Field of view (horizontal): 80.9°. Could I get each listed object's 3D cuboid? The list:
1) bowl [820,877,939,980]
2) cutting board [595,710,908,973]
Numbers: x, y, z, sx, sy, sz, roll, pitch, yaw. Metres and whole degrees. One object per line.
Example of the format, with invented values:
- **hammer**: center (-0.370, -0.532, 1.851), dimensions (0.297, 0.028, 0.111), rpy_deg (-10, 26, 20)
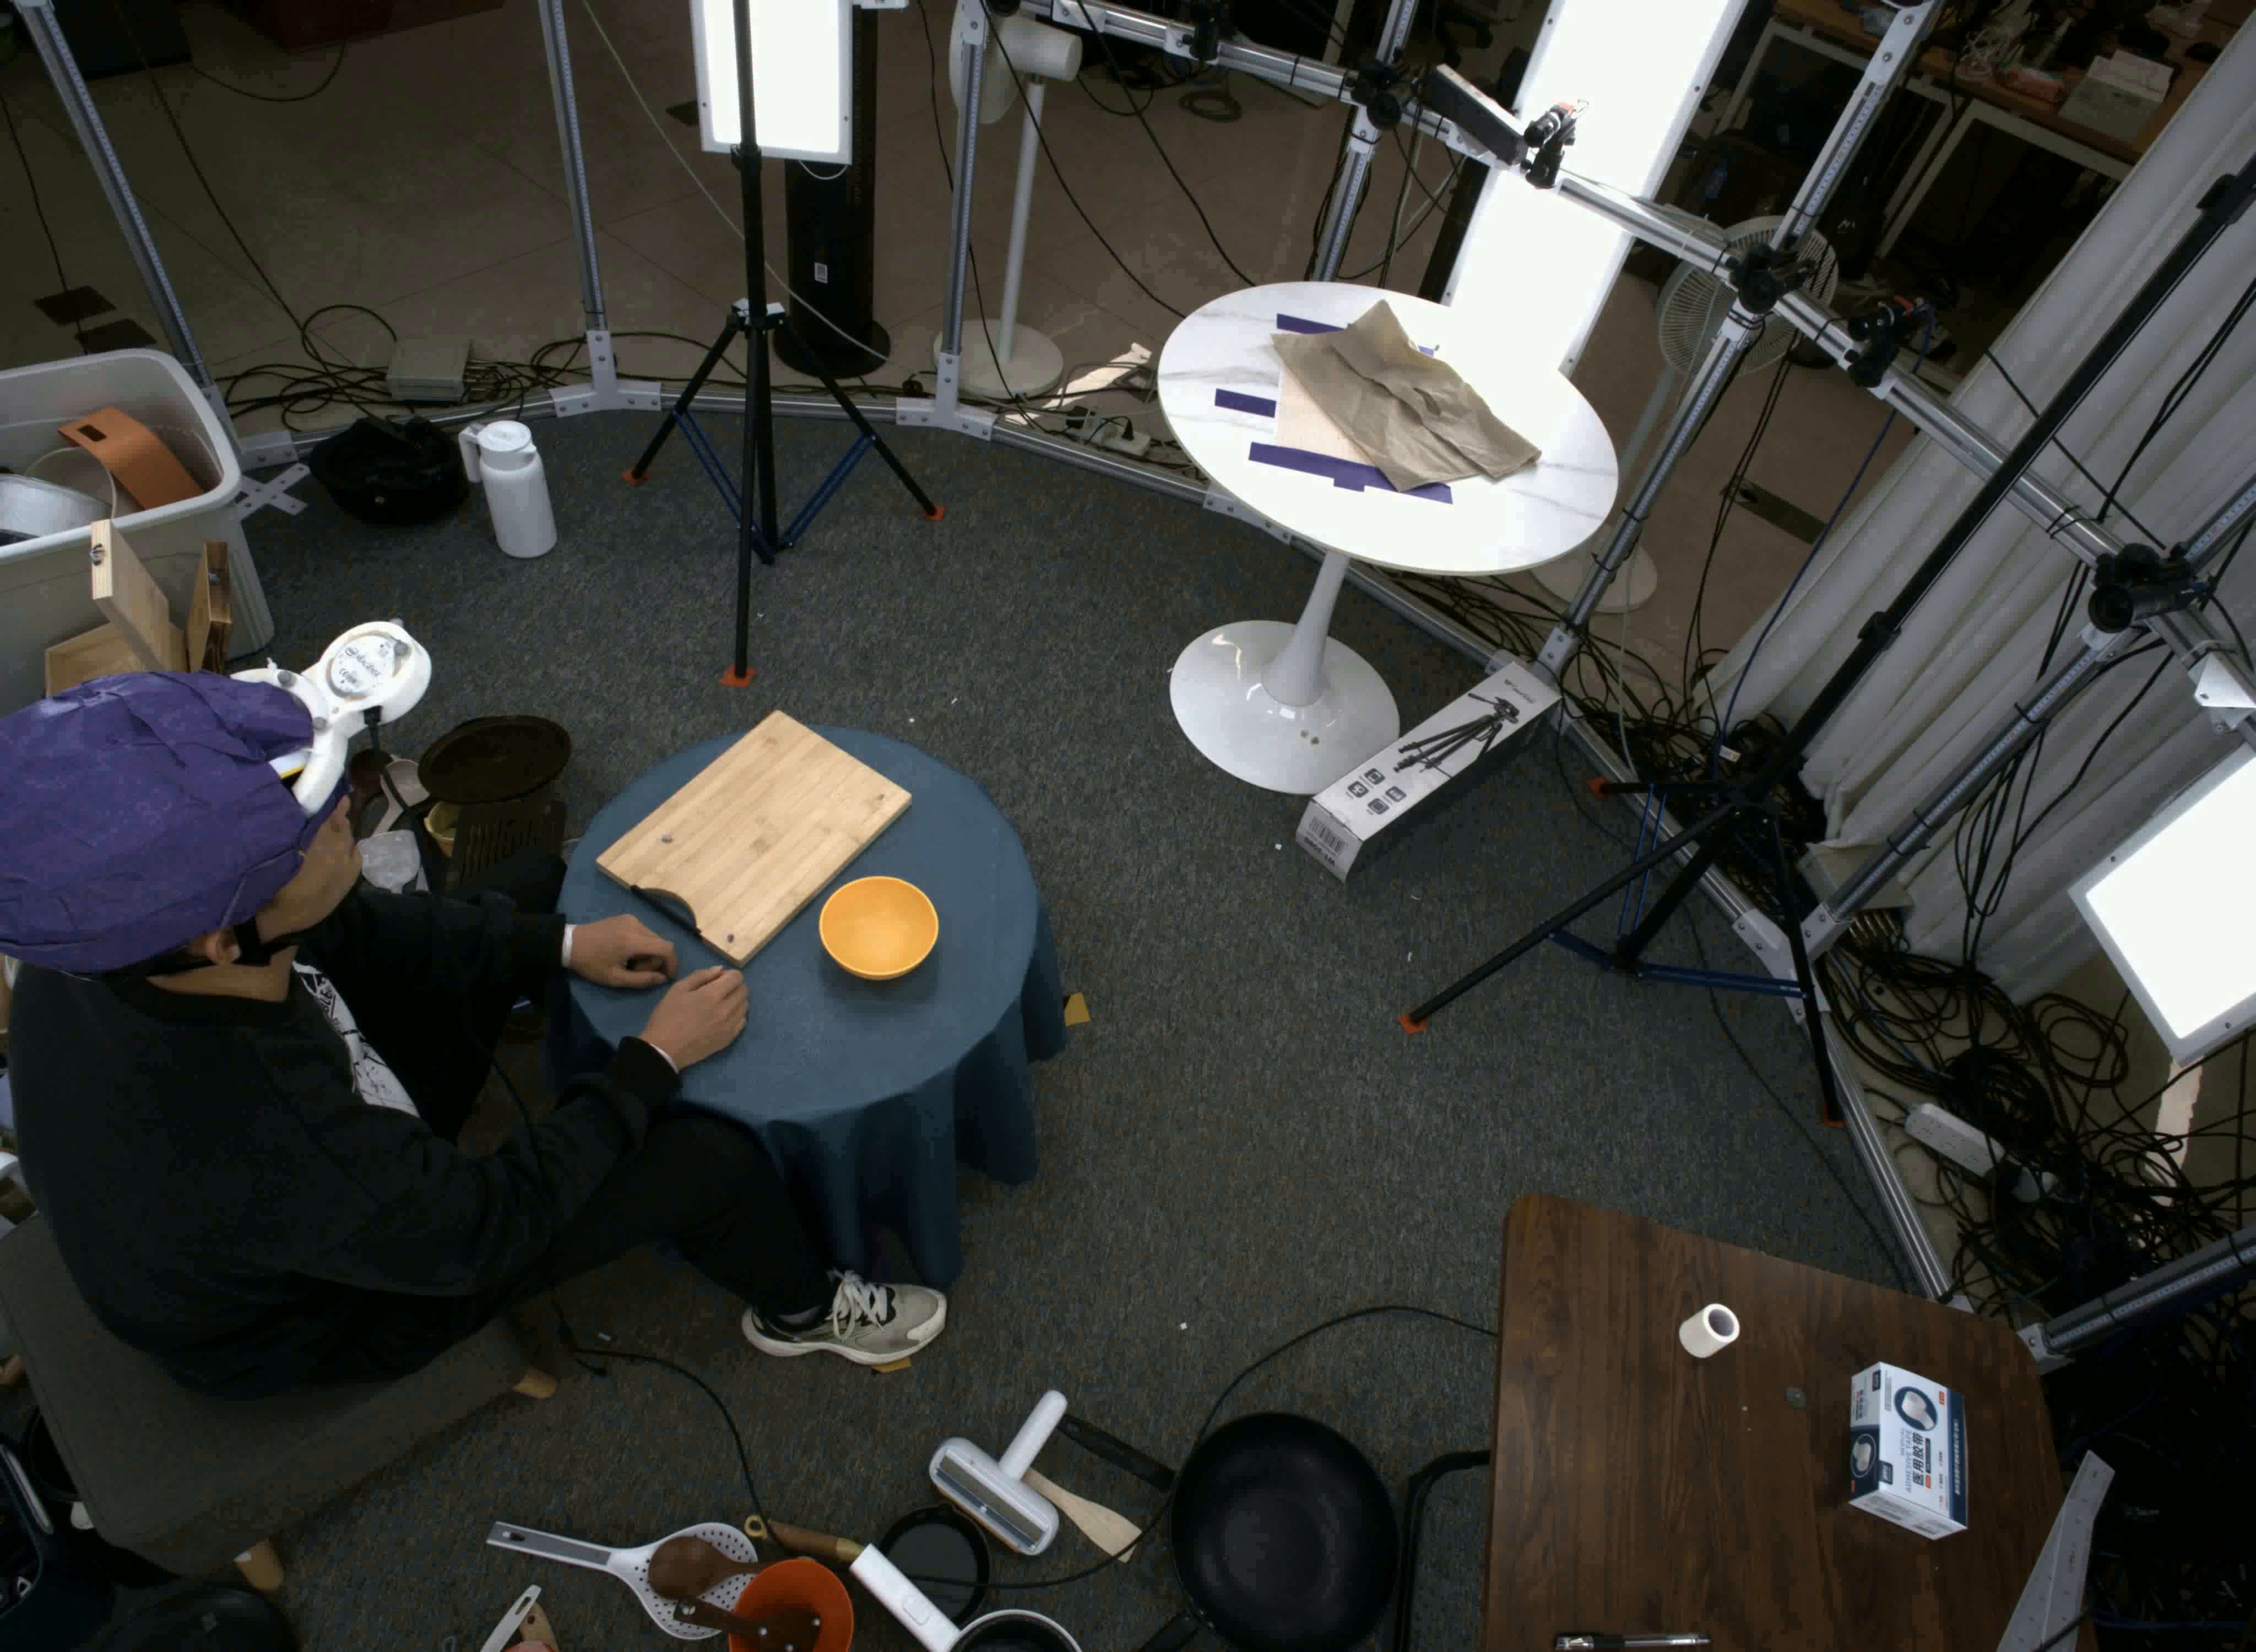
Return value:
- **bowl**: center (-0.308, 0.137, 1.621), dimensions (0.144, 0.061, 0.143), rpy_deg (6, 53, -6)
- **cutting board**: center (-0.487, 0.008, 1.696), dimensions (0.246, 0.024, 0.347), rpy_deg (31, 53, 10)
